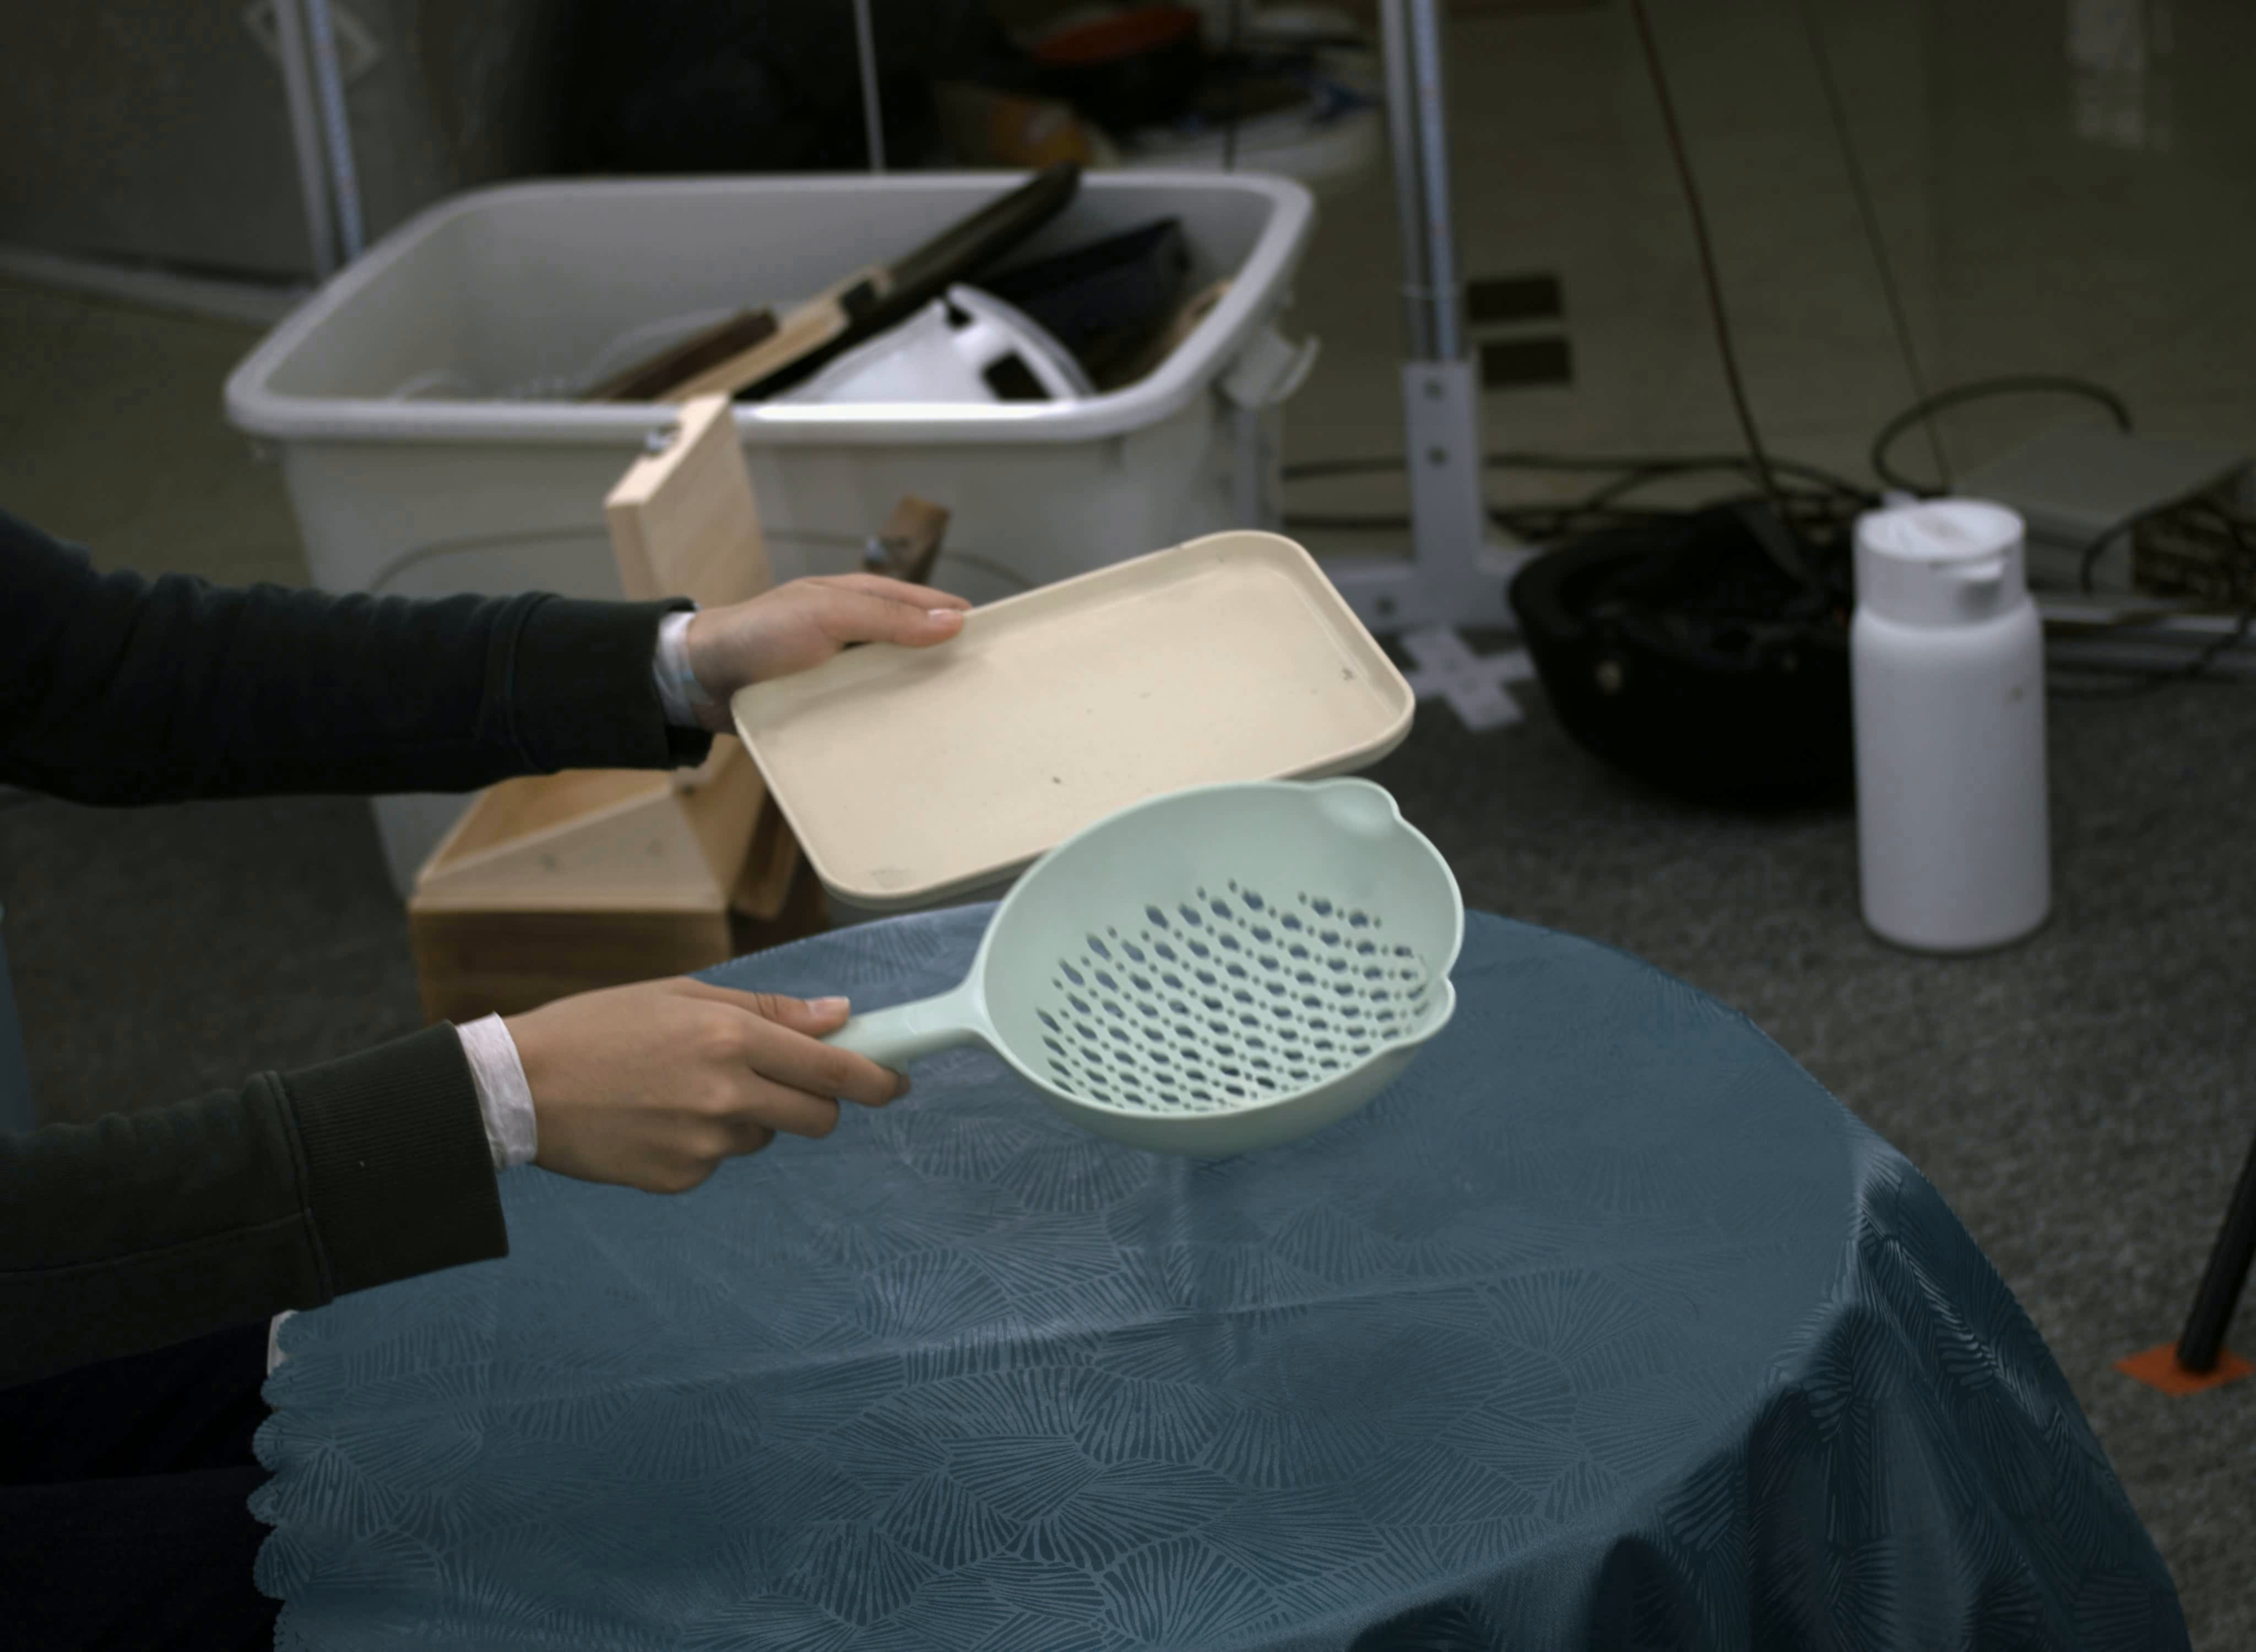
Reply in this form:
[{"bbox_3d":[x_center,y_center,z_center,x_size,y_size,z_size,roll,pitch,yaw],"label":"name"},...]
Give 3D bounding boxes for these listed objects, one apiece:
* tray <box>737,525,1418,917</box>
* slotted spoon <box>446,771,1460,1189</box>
[{"bbox_3d":[-0.020,-0.040,2.169,0.239,0.018,0.168,-19,37,-11],"label":"tray"},{"bbox_3d":[-0.062,0.072,1.966,0.358,0.077,0.166,-8,41,-5],"label":"slotted spoon"}]
